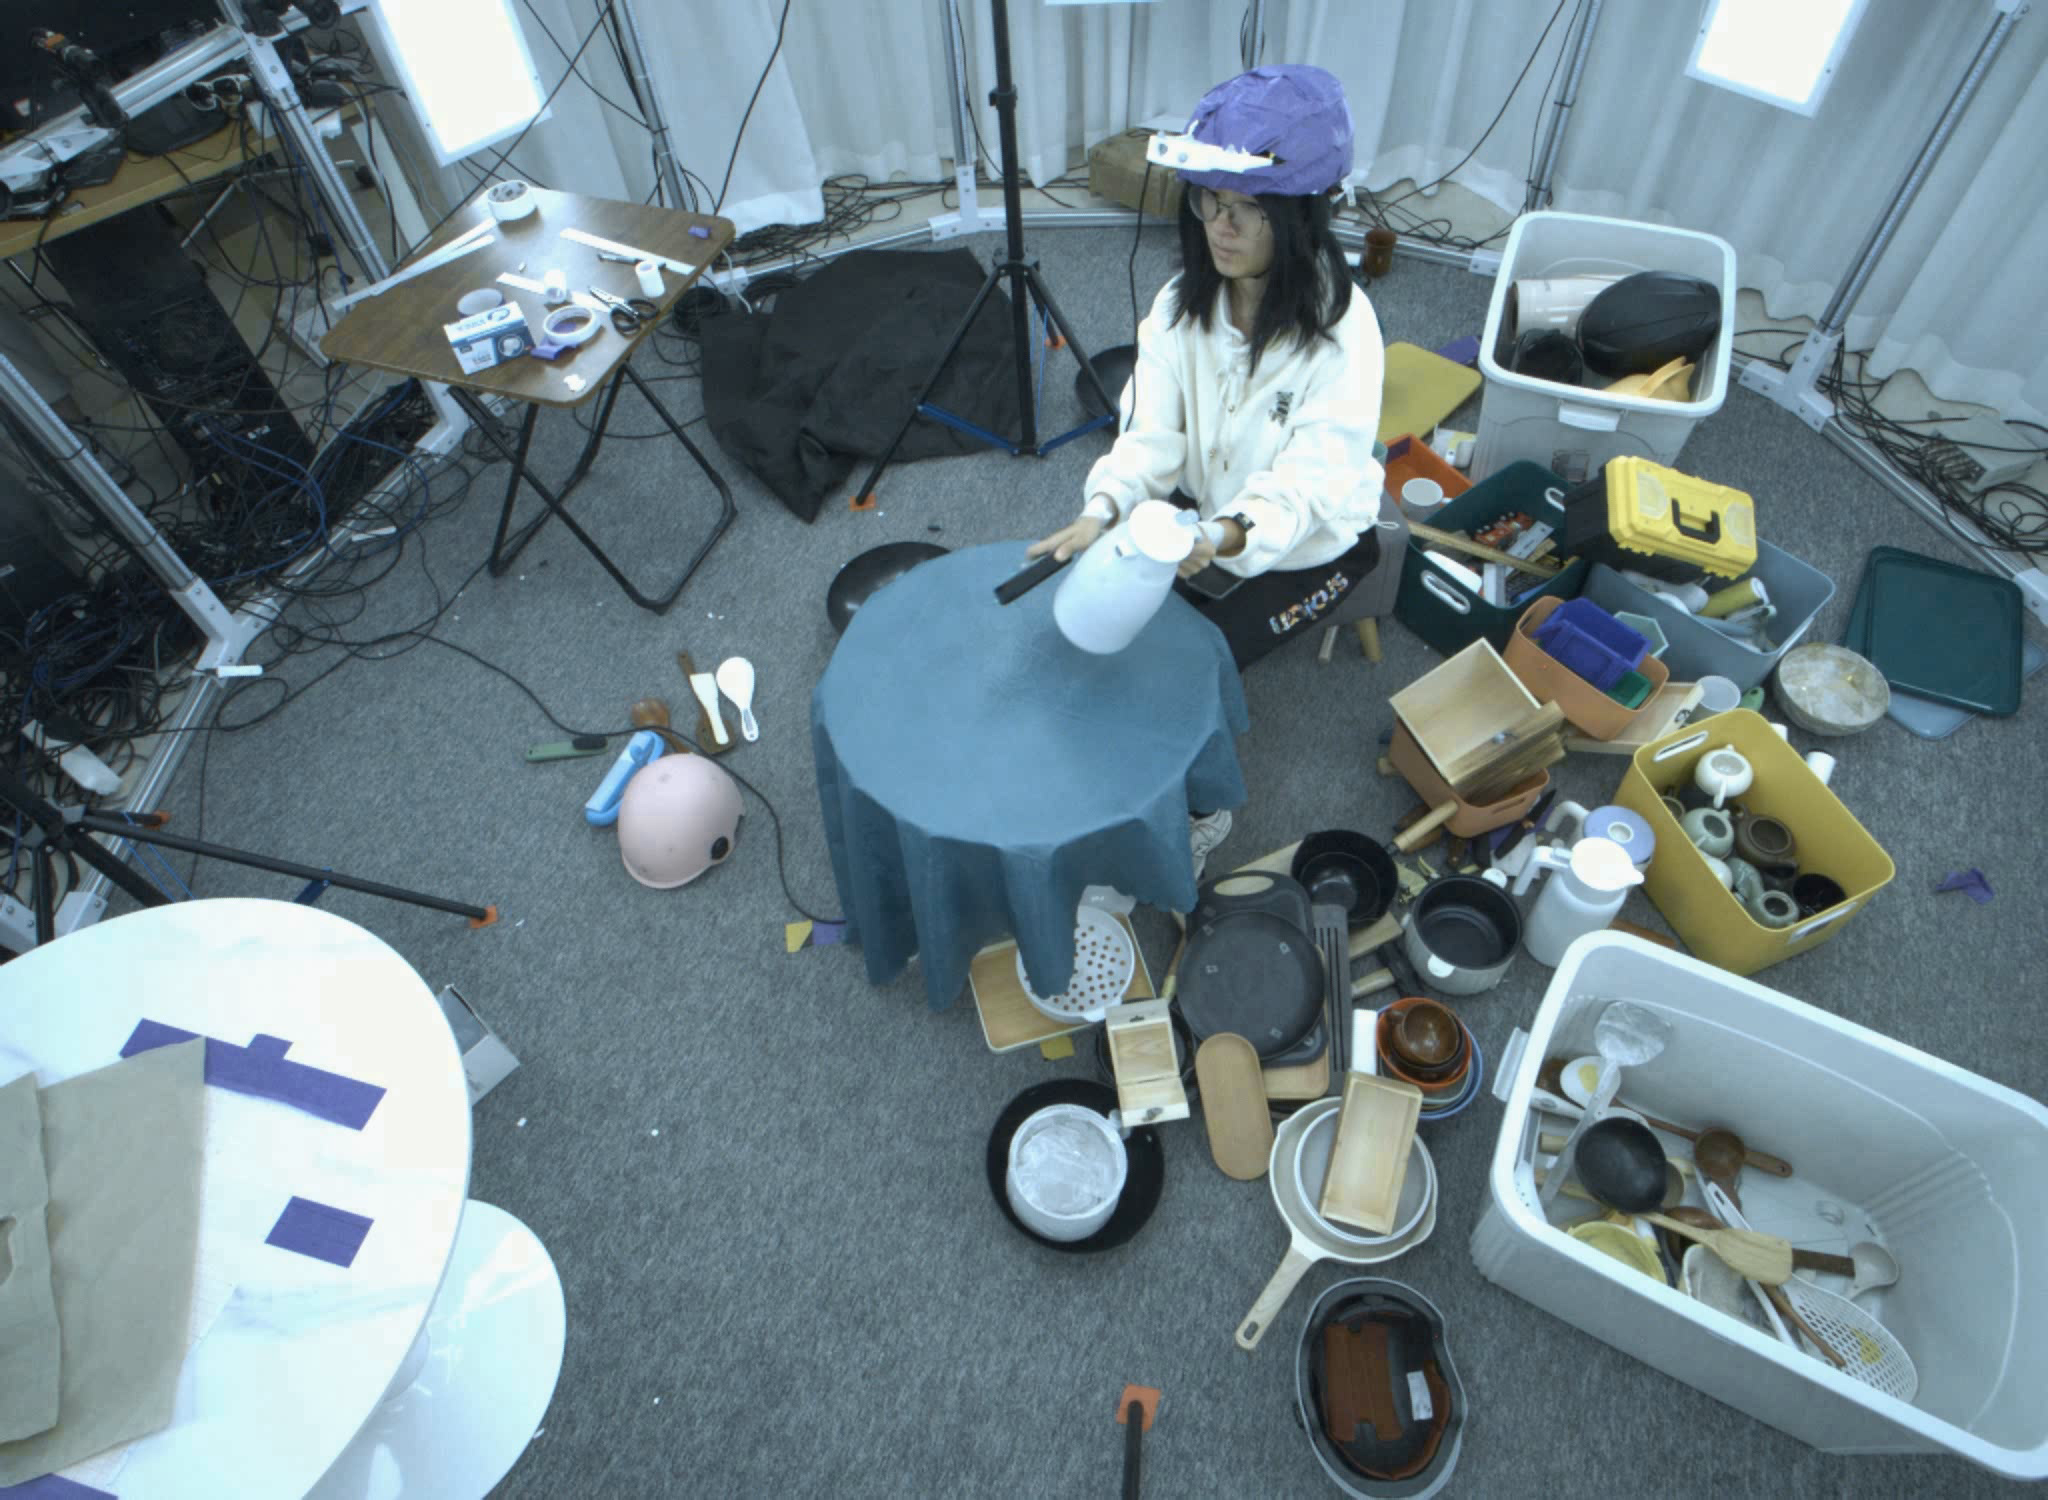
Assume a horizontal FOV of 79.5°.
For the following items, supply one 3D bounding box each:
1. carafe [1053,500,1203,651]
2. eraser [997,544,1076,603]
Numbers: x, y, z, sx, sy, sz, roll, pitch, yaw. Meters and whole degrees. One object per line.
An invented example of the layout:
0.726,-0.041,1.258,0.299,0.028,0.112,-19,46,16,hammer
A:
0.157,-0.254,1.696,0.170,0.247,0.132,-26,81,-28,carafe
0.019,-0.259,1.794,0.127,0.052,0.030,-38,101,-37,eraser
